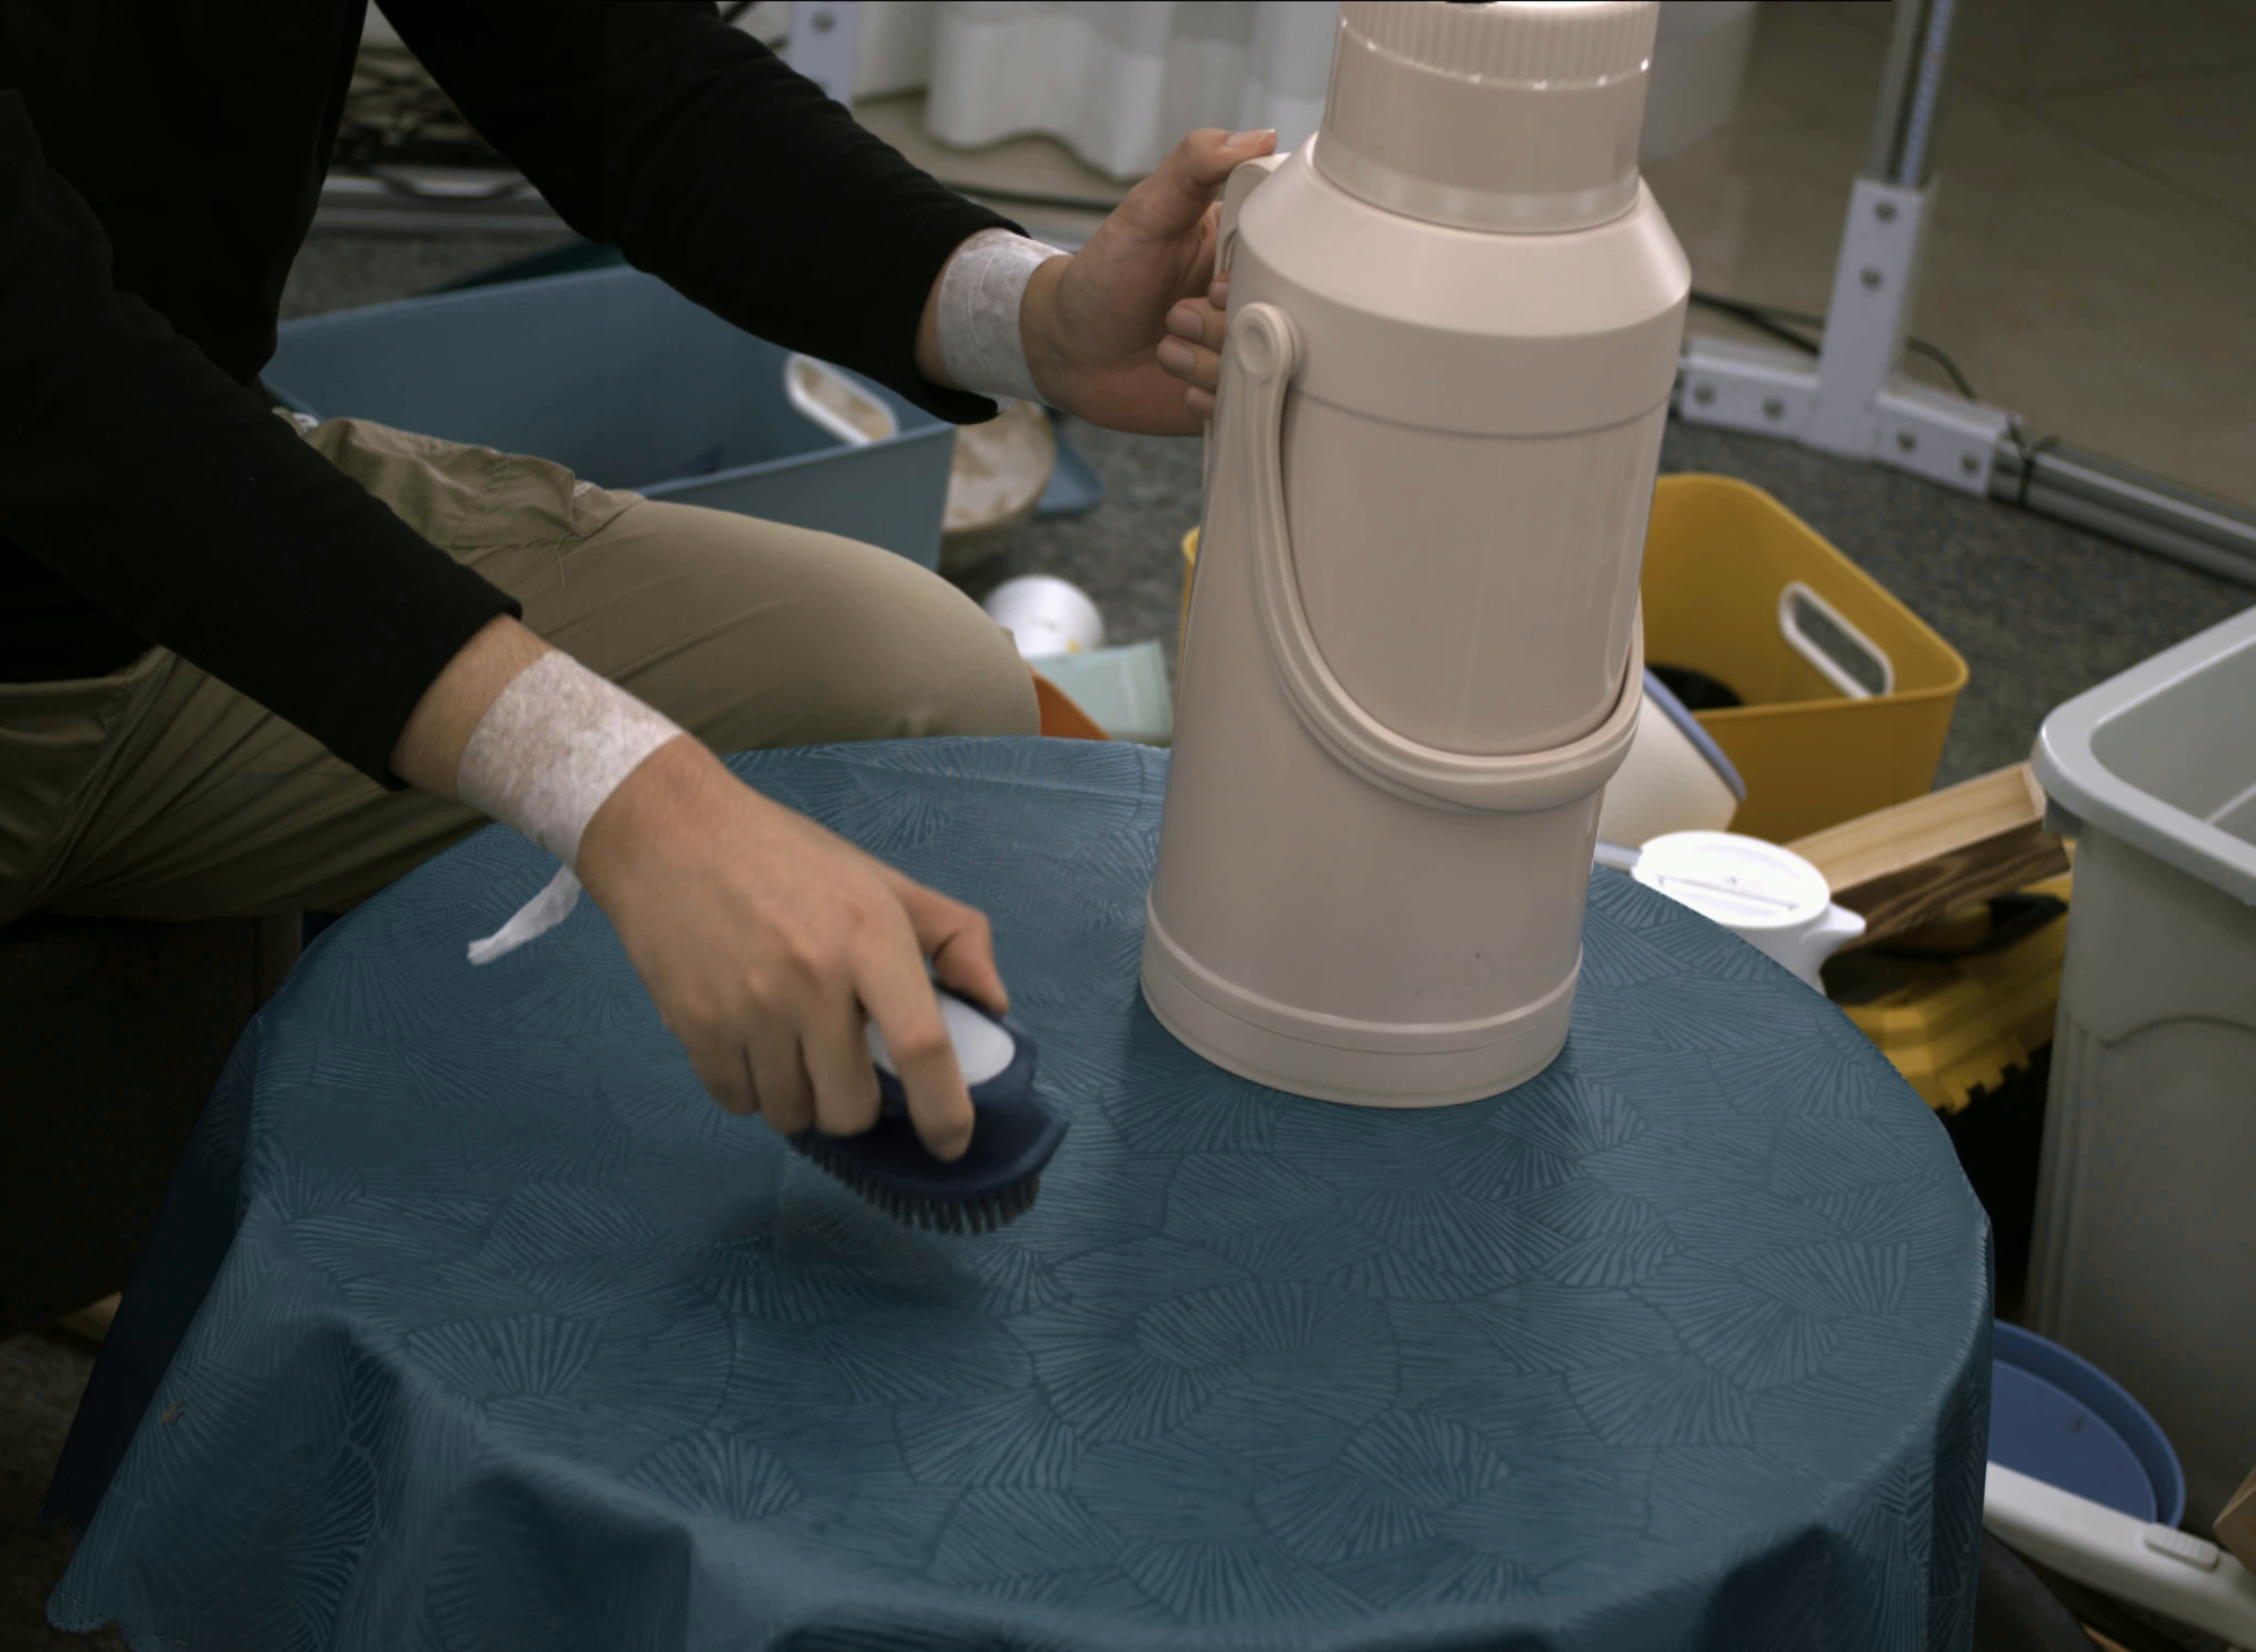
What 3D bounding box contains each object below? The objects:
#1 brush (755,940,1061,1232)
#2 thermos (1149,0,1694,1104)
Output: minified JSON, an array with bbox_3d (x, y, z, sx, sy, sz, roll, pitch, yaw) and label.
[{"bbox_3d":[-0.072,0.086,1.725,0.067,0.061,0.122,-22,35,-30],"label":"brush"},{"bbox_3d":[0.098,-0.119,1.864,0.174,0.405,0.209,-15,34,-34],"label":"thermos"}]
